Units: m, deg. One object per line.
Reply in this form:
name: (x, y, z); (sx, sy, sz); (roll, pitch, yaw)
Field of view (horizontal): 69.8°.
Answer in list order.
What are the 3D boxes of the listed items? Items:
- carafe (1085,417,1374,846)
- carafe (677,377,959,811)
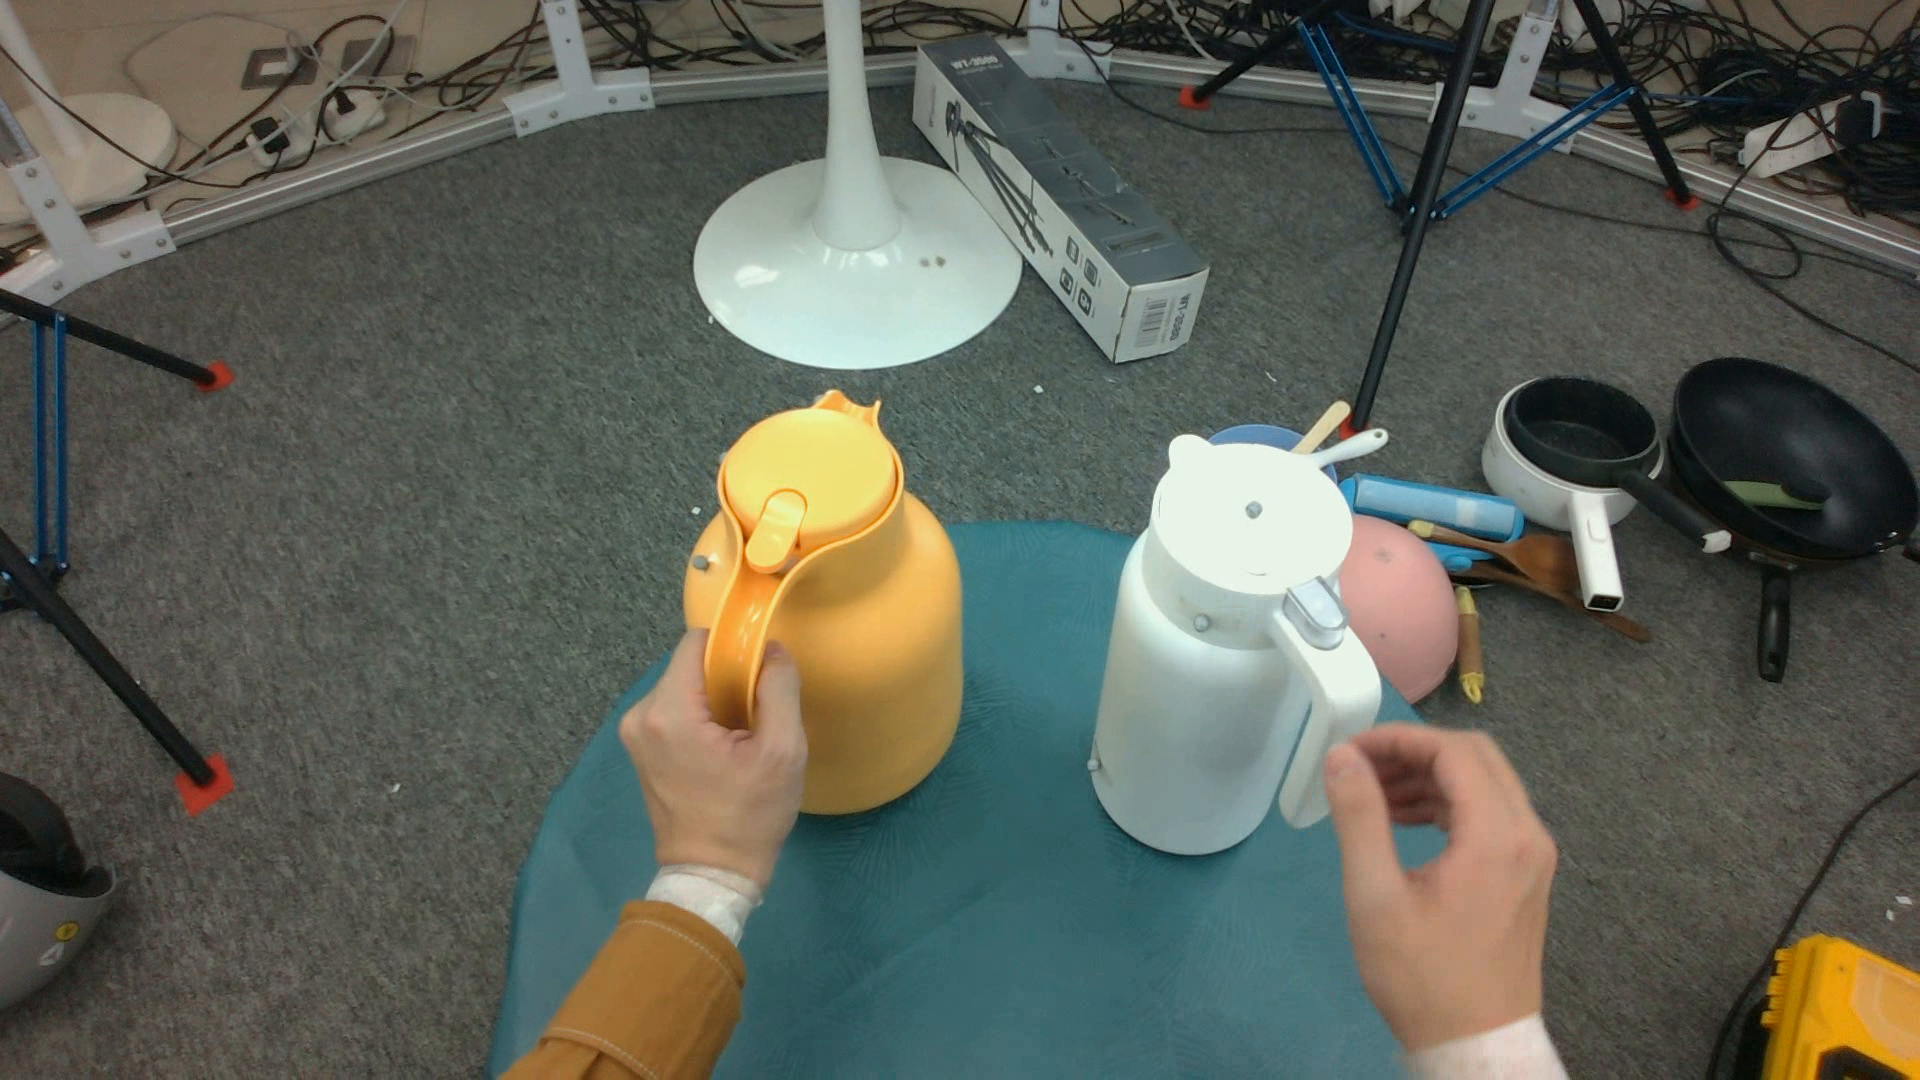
carafe: (0.148, 0.076, 0.772); (0.124, 0.267, 0.173); (-19, 54, -18)
carafe: (-0.090, 0.047, 0.790); (0.163, 0.259, 0.203); (15, 51, 14)
